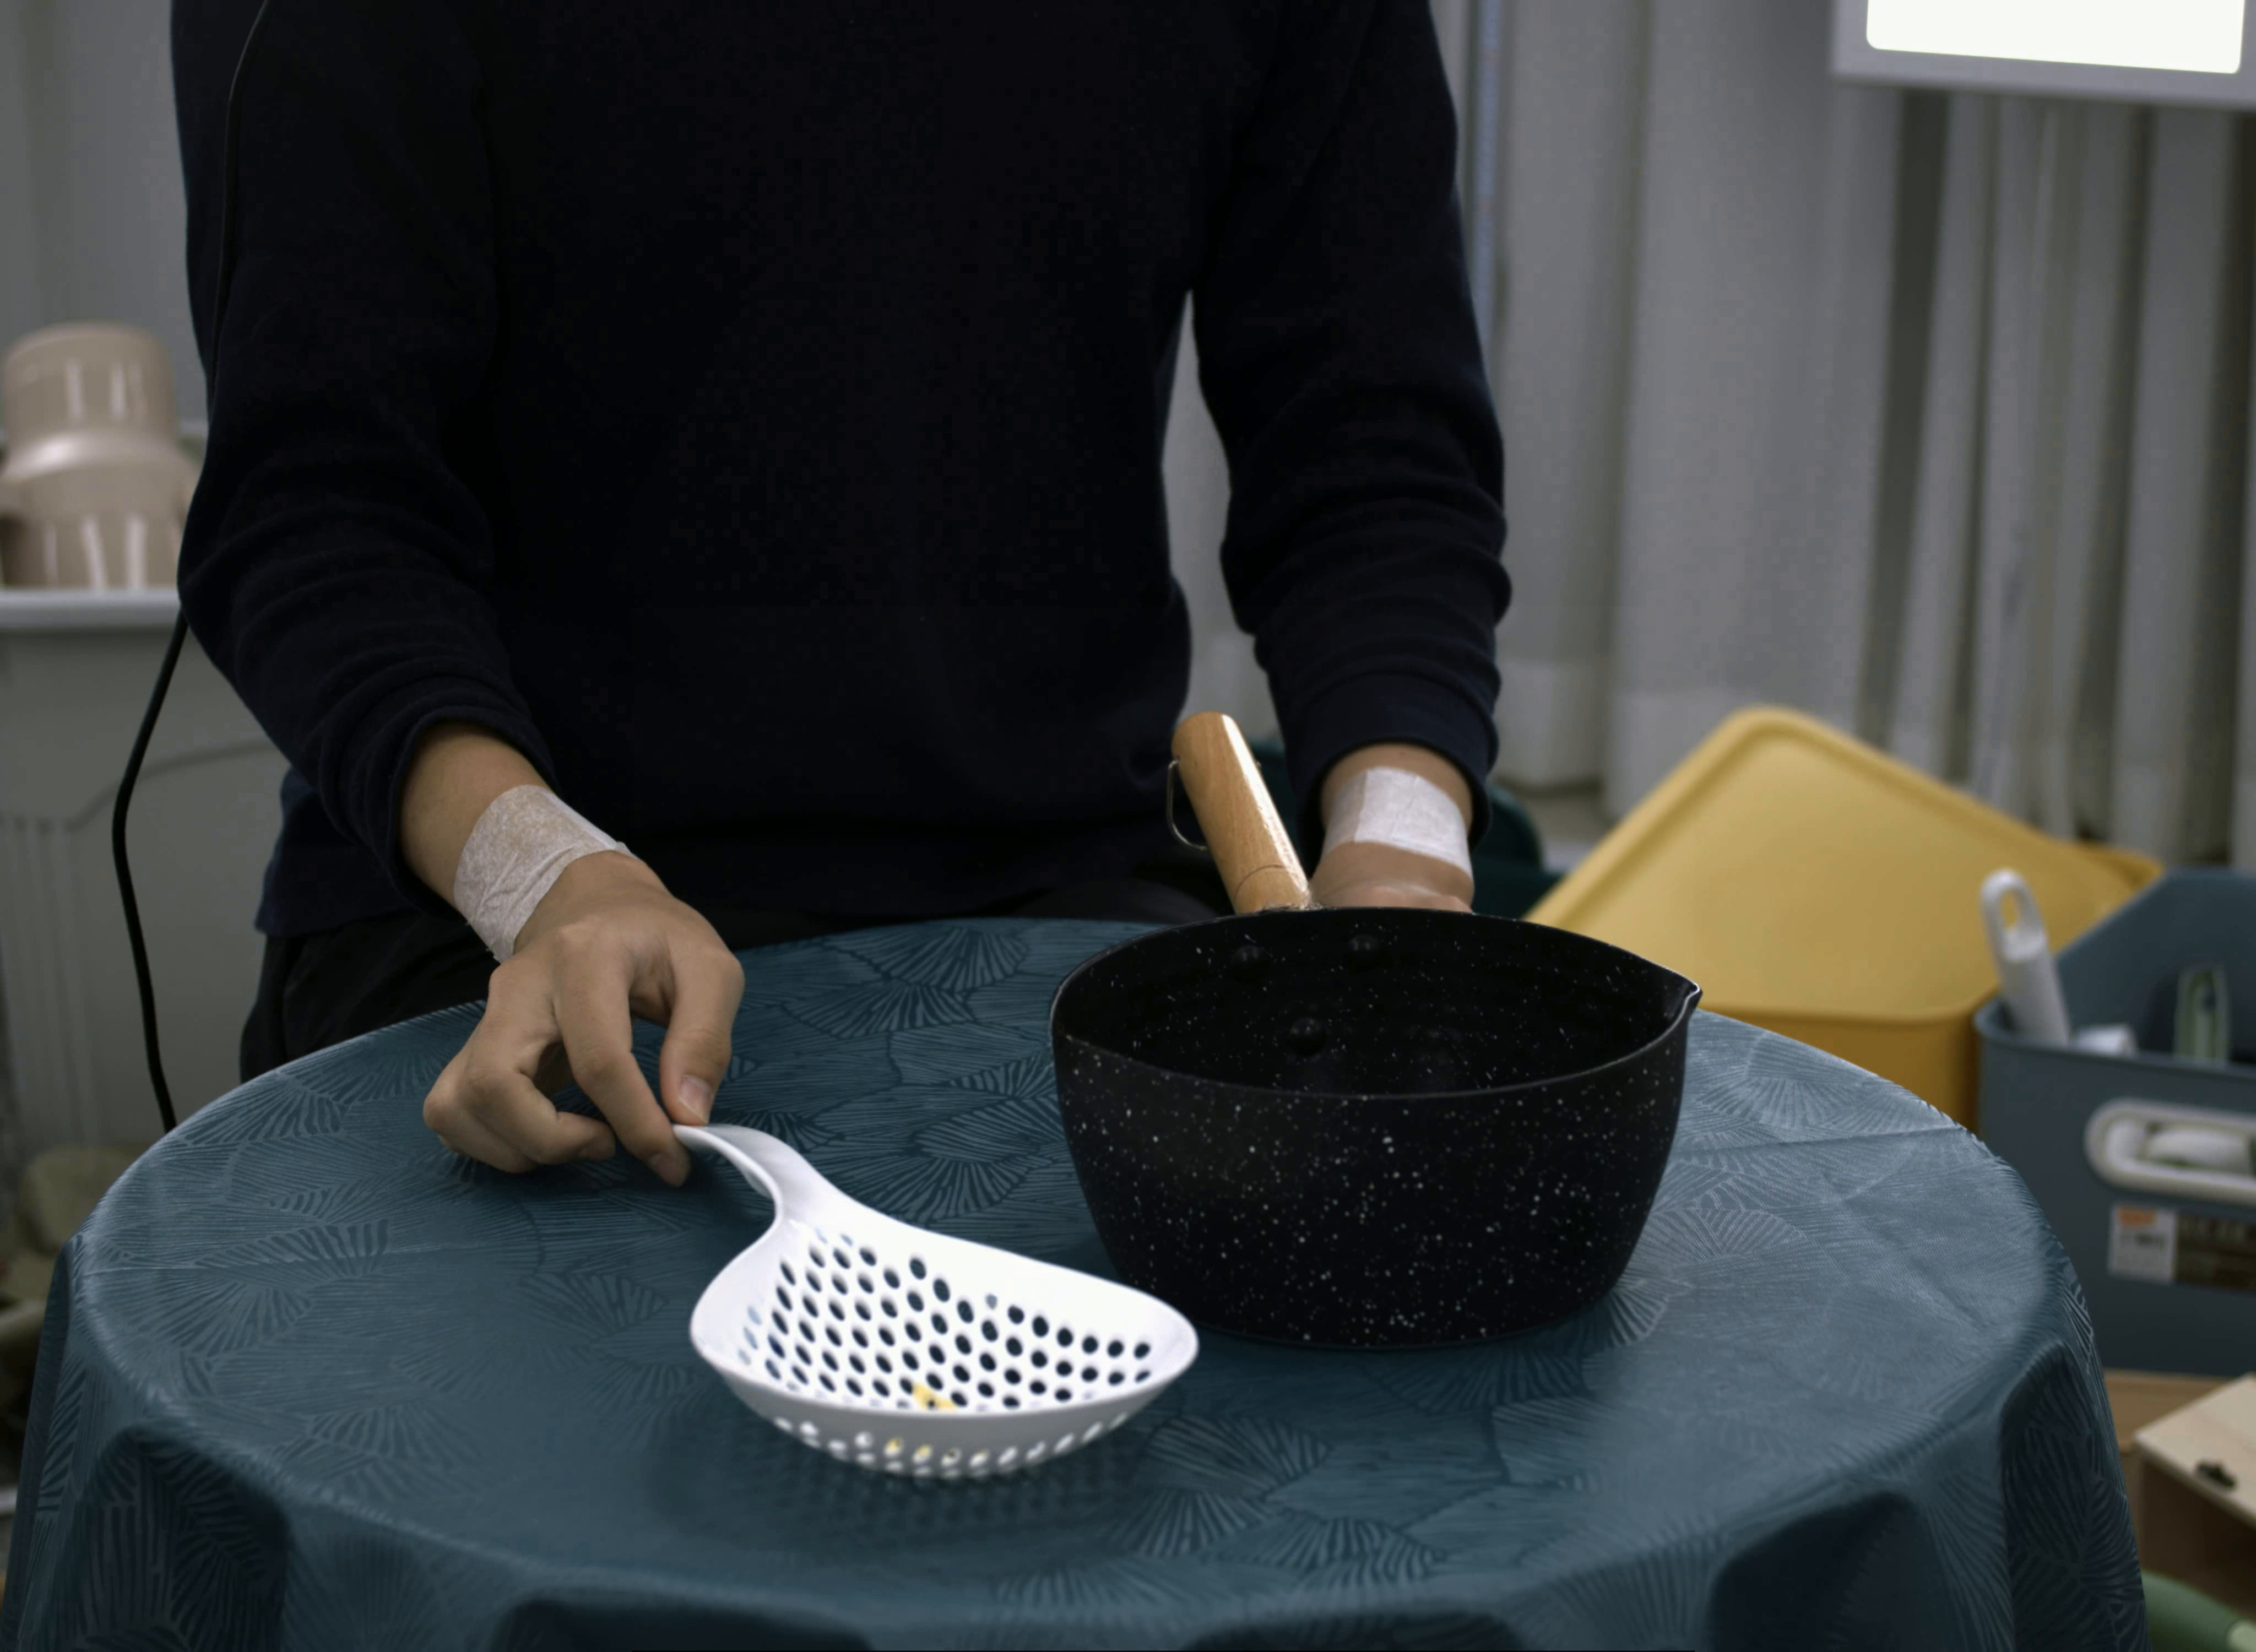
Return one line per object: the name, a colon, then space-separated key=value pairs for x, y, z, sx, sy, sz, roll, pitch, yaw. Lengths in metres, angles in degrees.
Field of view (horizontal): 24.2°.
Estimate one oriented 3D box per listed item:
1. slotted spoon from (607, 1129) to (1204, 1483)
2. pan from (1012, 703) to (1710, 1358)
slotted spoon: x=-0.088 y=0.122 z=1.504 sx=0.137 sy=0.051 sz=0.344 roll=-4 pitch=17 yaw=-21
pan: x=0.055 y=0.057 z=1.620 sx=0.207 sy=0.109 sz=0.339 roll=-4 pitch=17 yaw=-11
